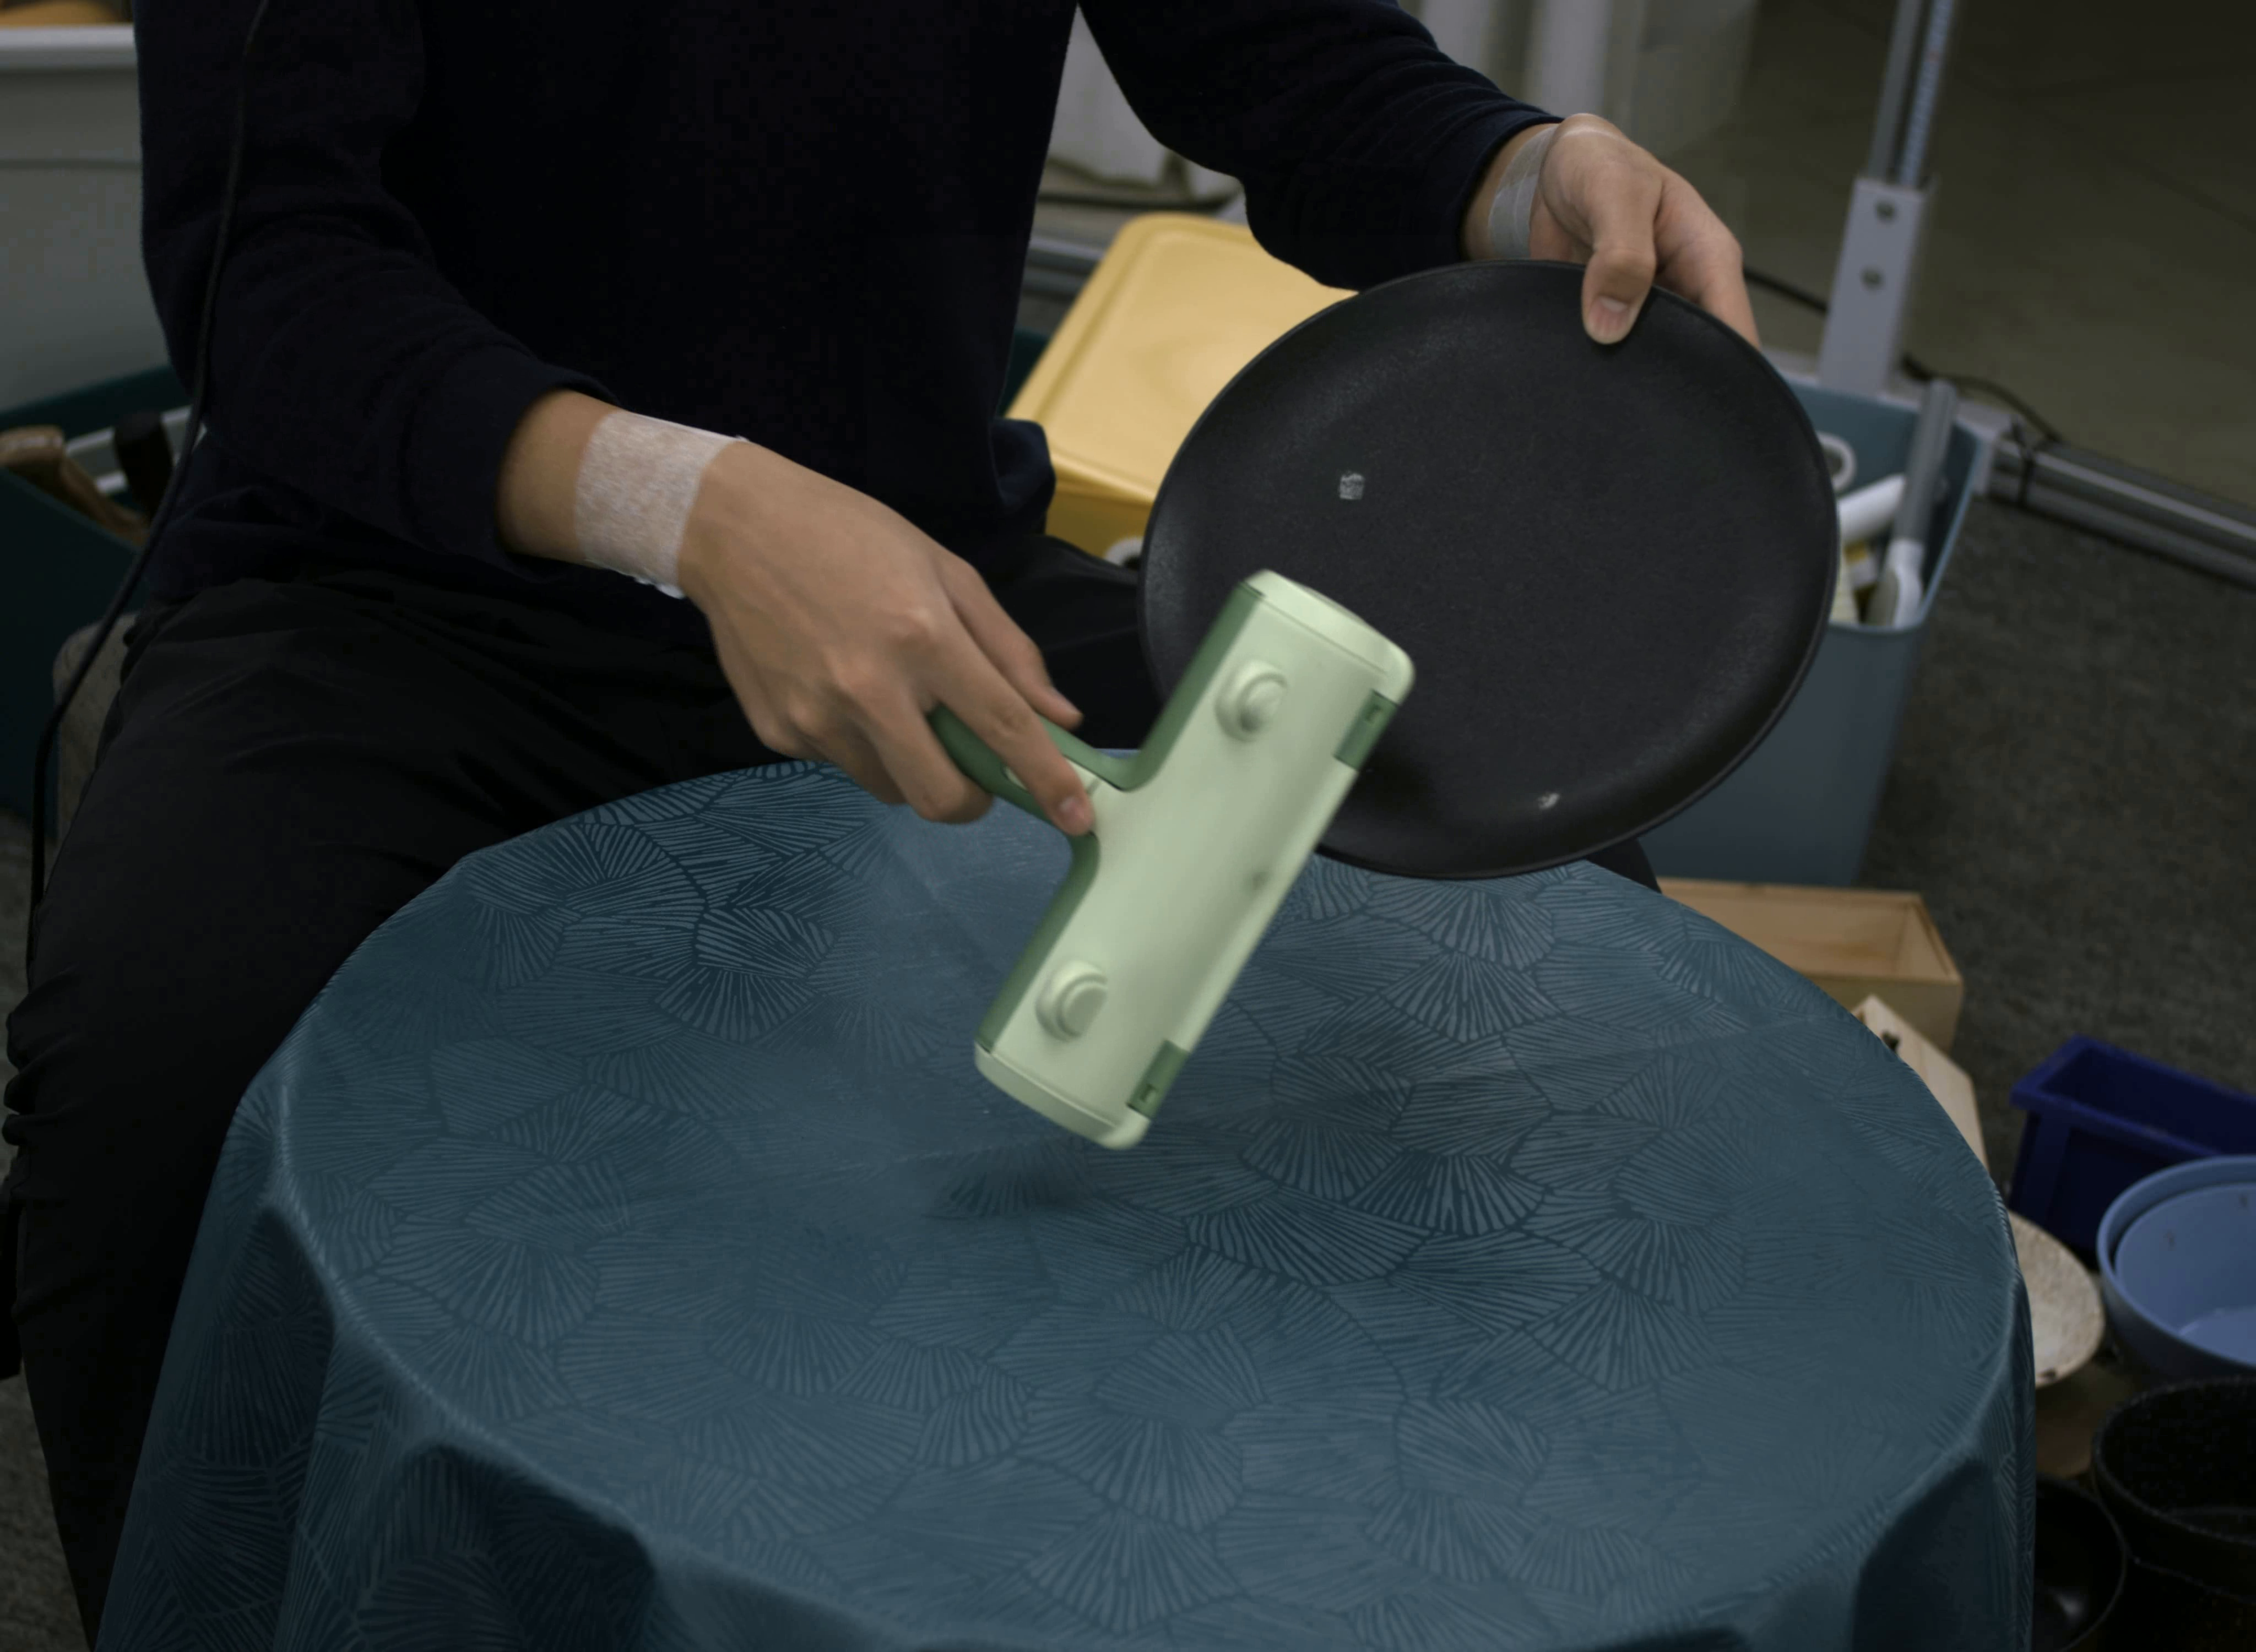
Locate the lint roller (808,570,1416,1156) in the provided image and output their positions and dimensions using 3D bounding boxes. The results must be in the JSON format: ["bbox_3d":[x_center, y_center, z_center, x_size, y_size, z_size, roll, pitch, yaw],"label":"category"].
[{"bbox_3d":[-0.028,-0.017,1.764,0.183,0.199,0.082,30,3,0],"label":"lint roller"}]

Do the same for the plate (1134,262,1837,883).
[{"bbox_3d":[0.122,-0.086,1.828,0.244,0.023,0.246,-6,61,11],"label":"plate"}]
